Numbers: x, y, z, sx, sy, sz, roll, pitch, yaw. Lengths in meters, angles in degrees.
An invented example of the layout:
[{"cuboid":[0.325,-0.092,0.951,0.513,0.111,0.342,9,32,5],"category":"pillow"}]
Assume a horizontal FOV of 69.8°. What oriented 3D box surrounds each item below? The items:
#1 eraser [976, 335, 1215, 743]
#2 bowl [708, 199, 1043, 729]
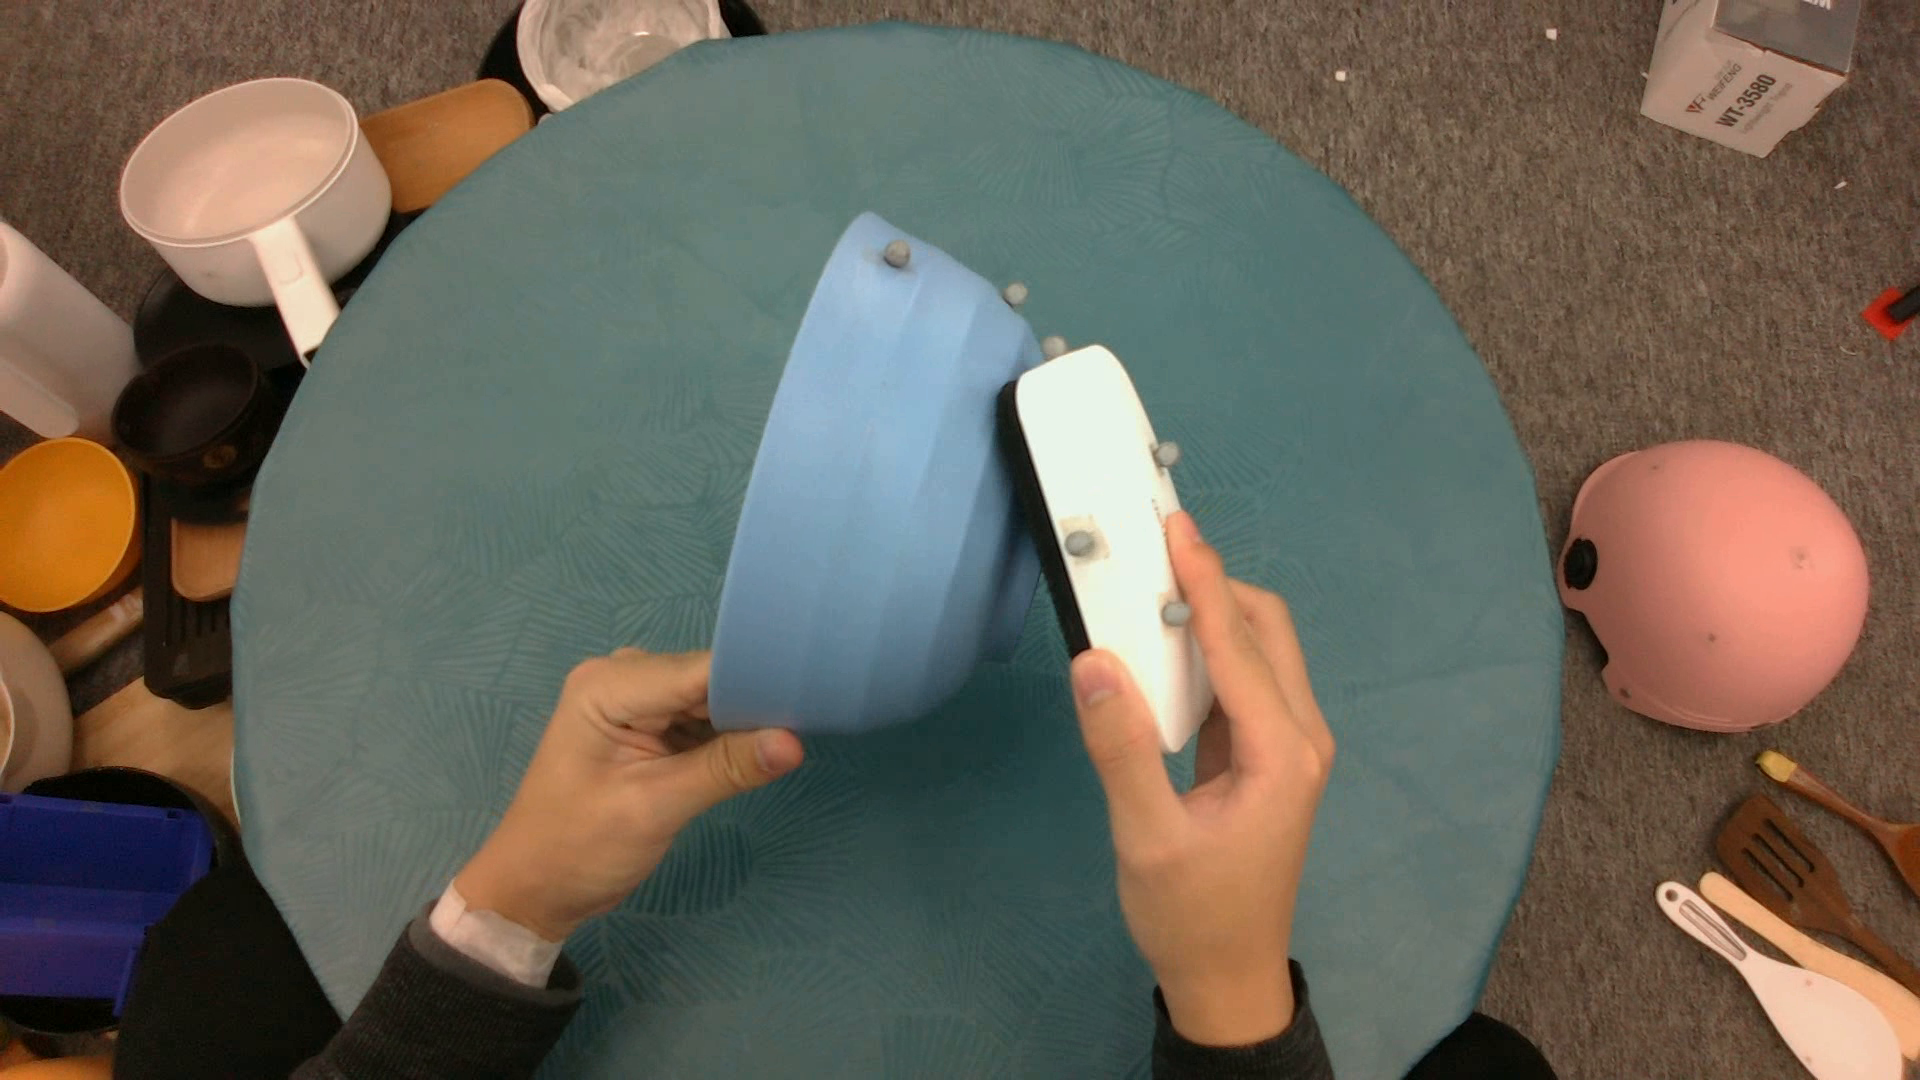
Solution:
[{"cuboid":[0.048,0.000,0.448,0.034,0.063,0.131,-16,97,31],"category":"eraser"},{"cuboid":[-0.017,-0.016,0.505,0.095,0.196,0.197,16,71,-1],"category":"bowl"}]
